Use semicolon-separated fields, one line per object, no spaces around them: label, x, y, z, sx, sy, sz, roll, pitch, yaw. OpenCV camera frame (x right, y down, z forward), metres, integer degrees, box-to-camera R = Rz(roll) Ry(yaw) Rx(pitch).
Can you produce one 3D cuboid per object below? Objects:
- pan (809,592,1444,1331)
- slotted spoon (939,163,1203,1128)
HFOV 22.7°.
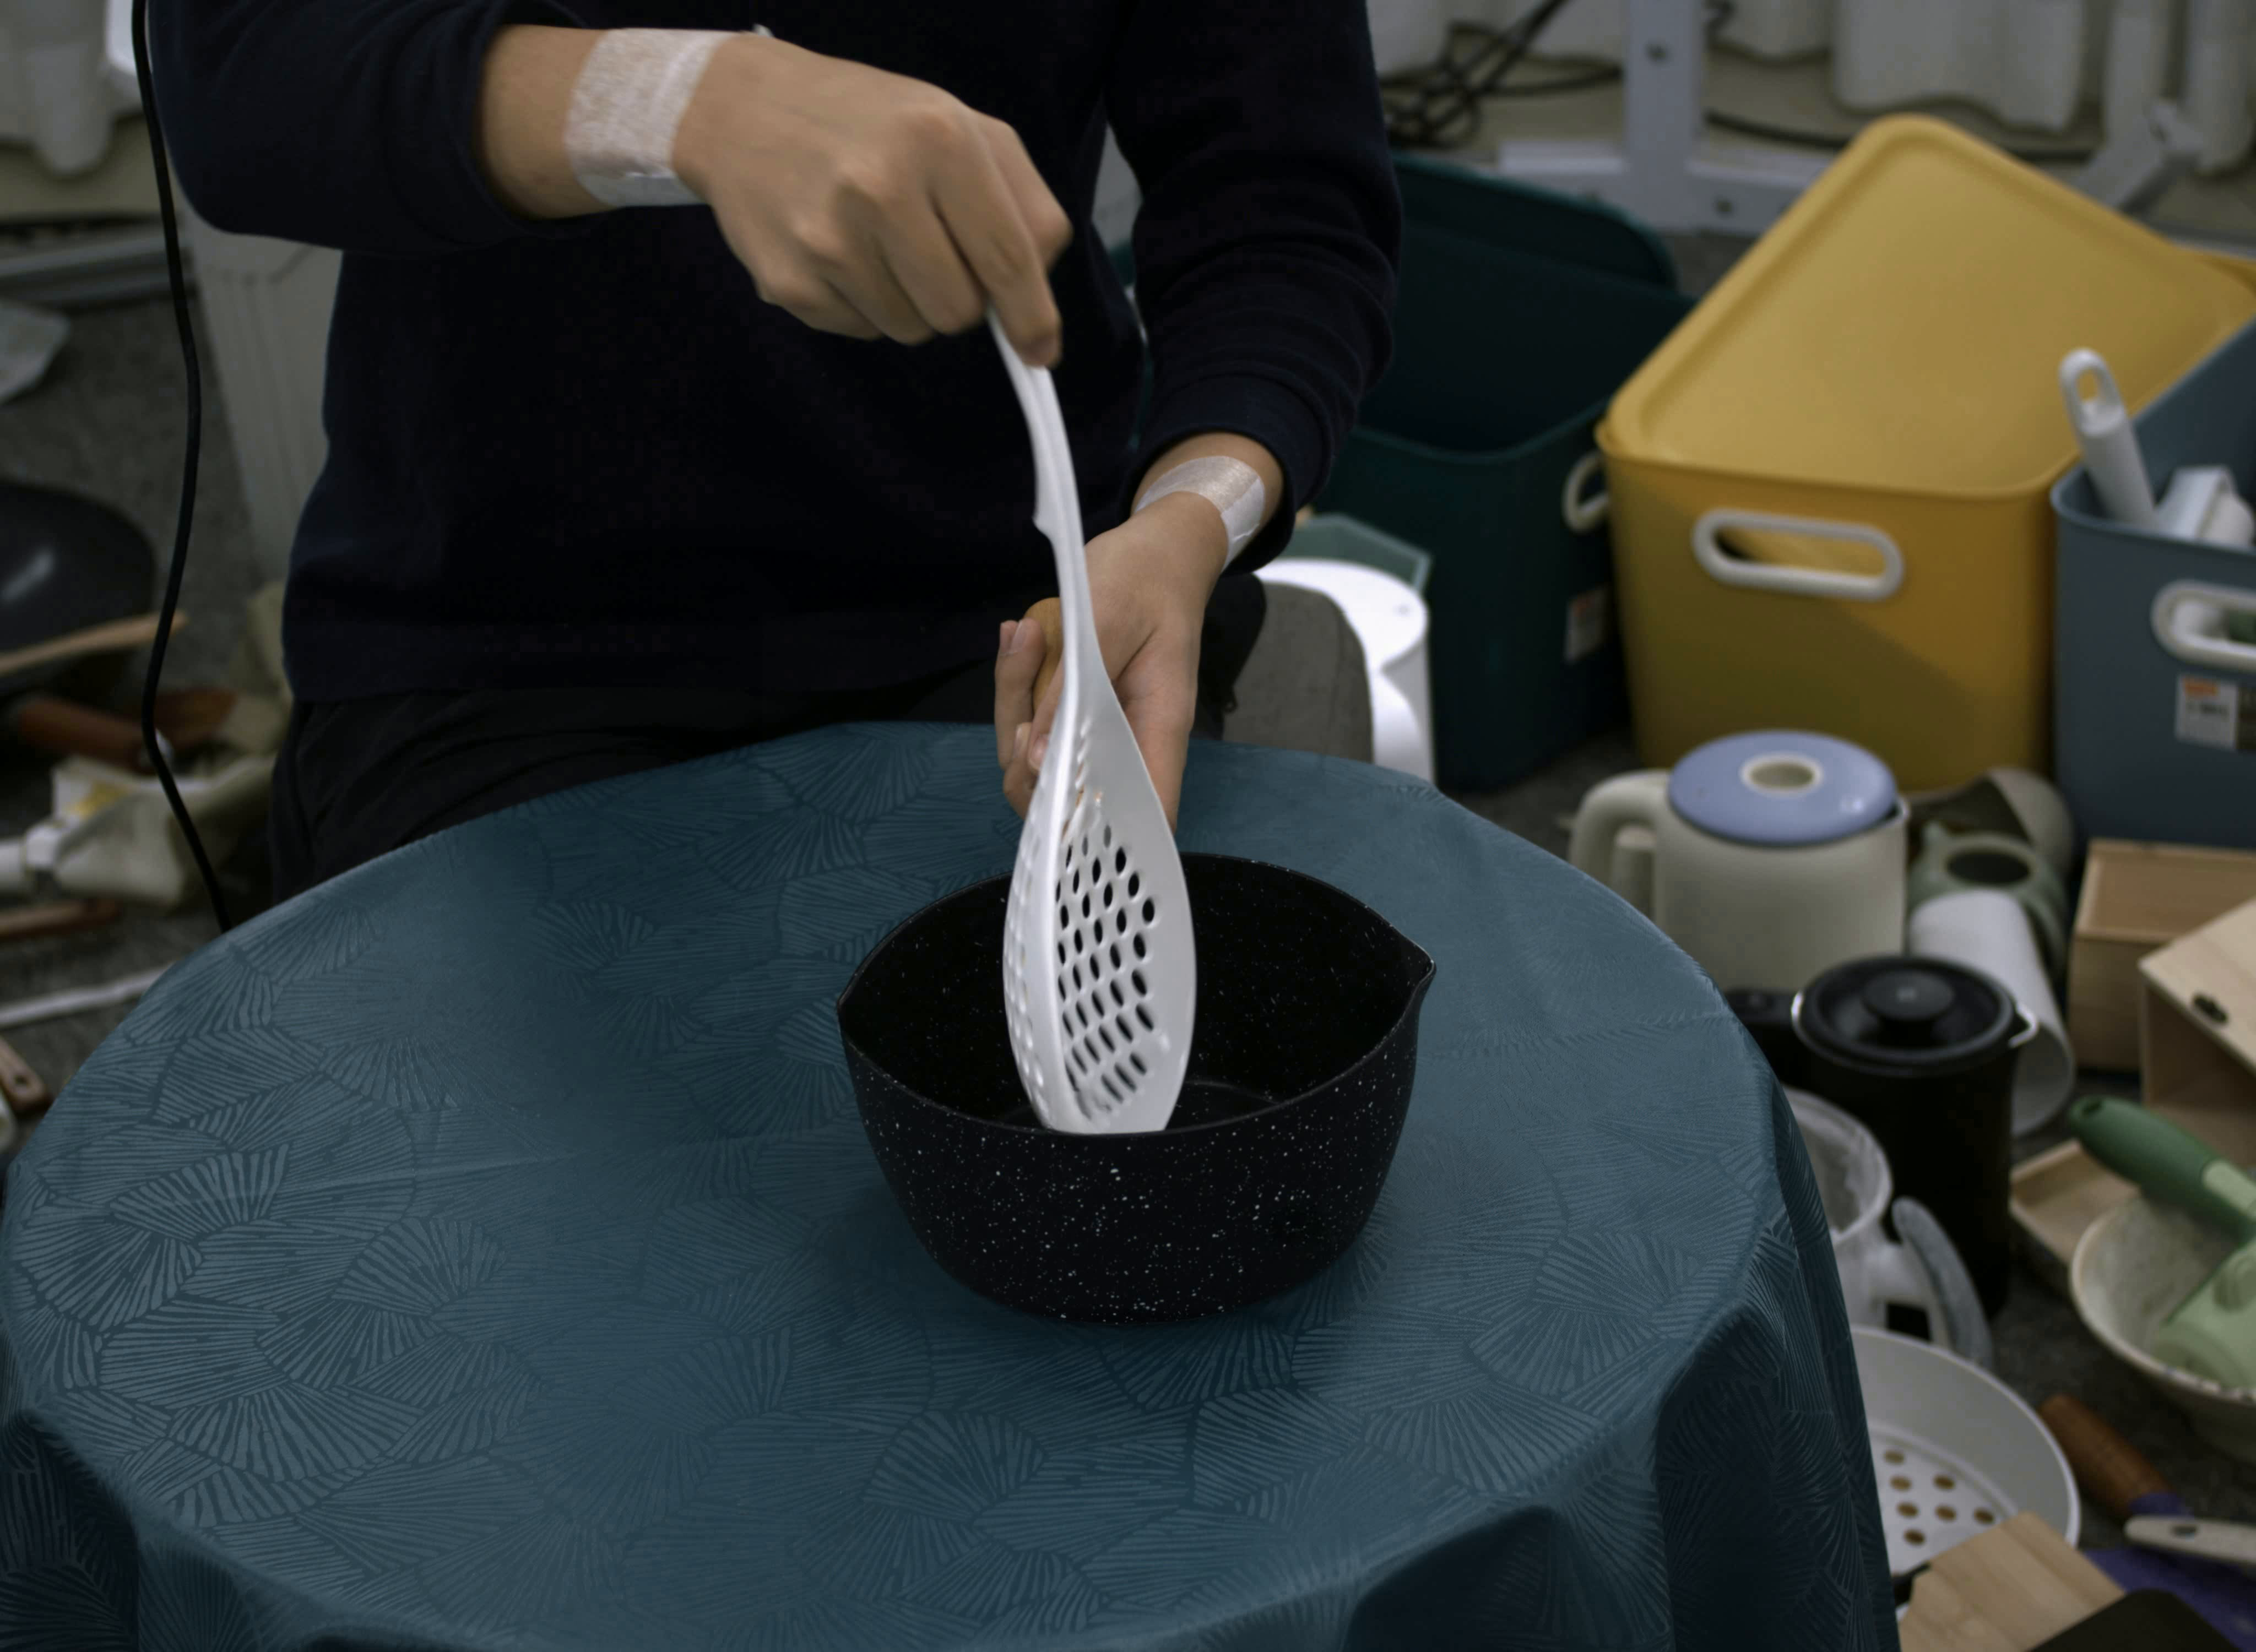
pan;-0.008;0.042;1.901;0.207;0.107;0.347;-7;29;-5
slotted spoon;-0.023;-0.044;1.773;0.050;0.344;0.139;5;26;16
